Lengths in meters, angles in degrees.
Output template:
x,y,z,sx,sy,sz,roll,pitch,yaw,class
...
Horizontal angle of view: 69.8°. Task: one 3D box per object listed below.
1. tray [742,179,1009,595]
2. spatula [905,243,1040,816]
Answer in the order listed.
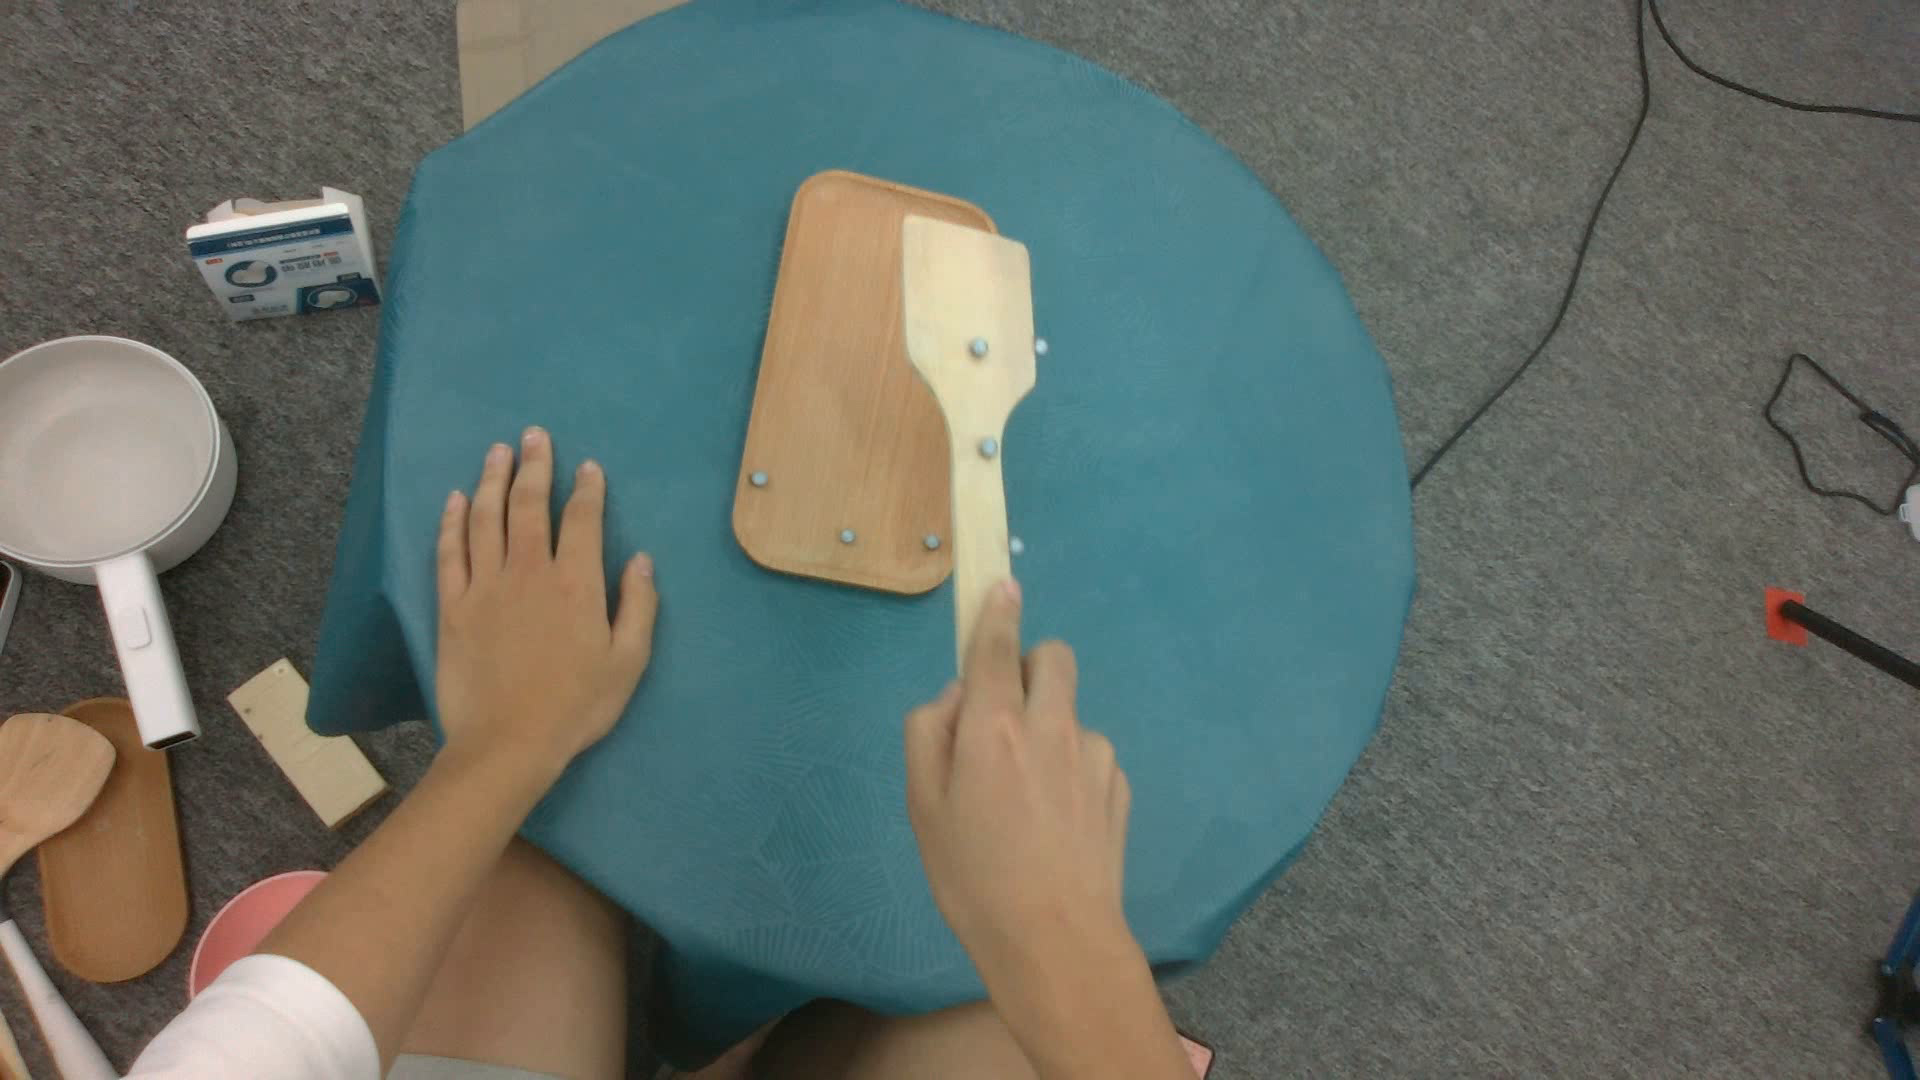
x,y,z,sx,sy,sz,roll,pitch,yaw,class
-0.046,-0.093,0.806,0.130,0.023,0.251,13,70,-11,tray
0.013,-0.015,0.643,0.072,0.010,0.294,8,61,-21,spatula
